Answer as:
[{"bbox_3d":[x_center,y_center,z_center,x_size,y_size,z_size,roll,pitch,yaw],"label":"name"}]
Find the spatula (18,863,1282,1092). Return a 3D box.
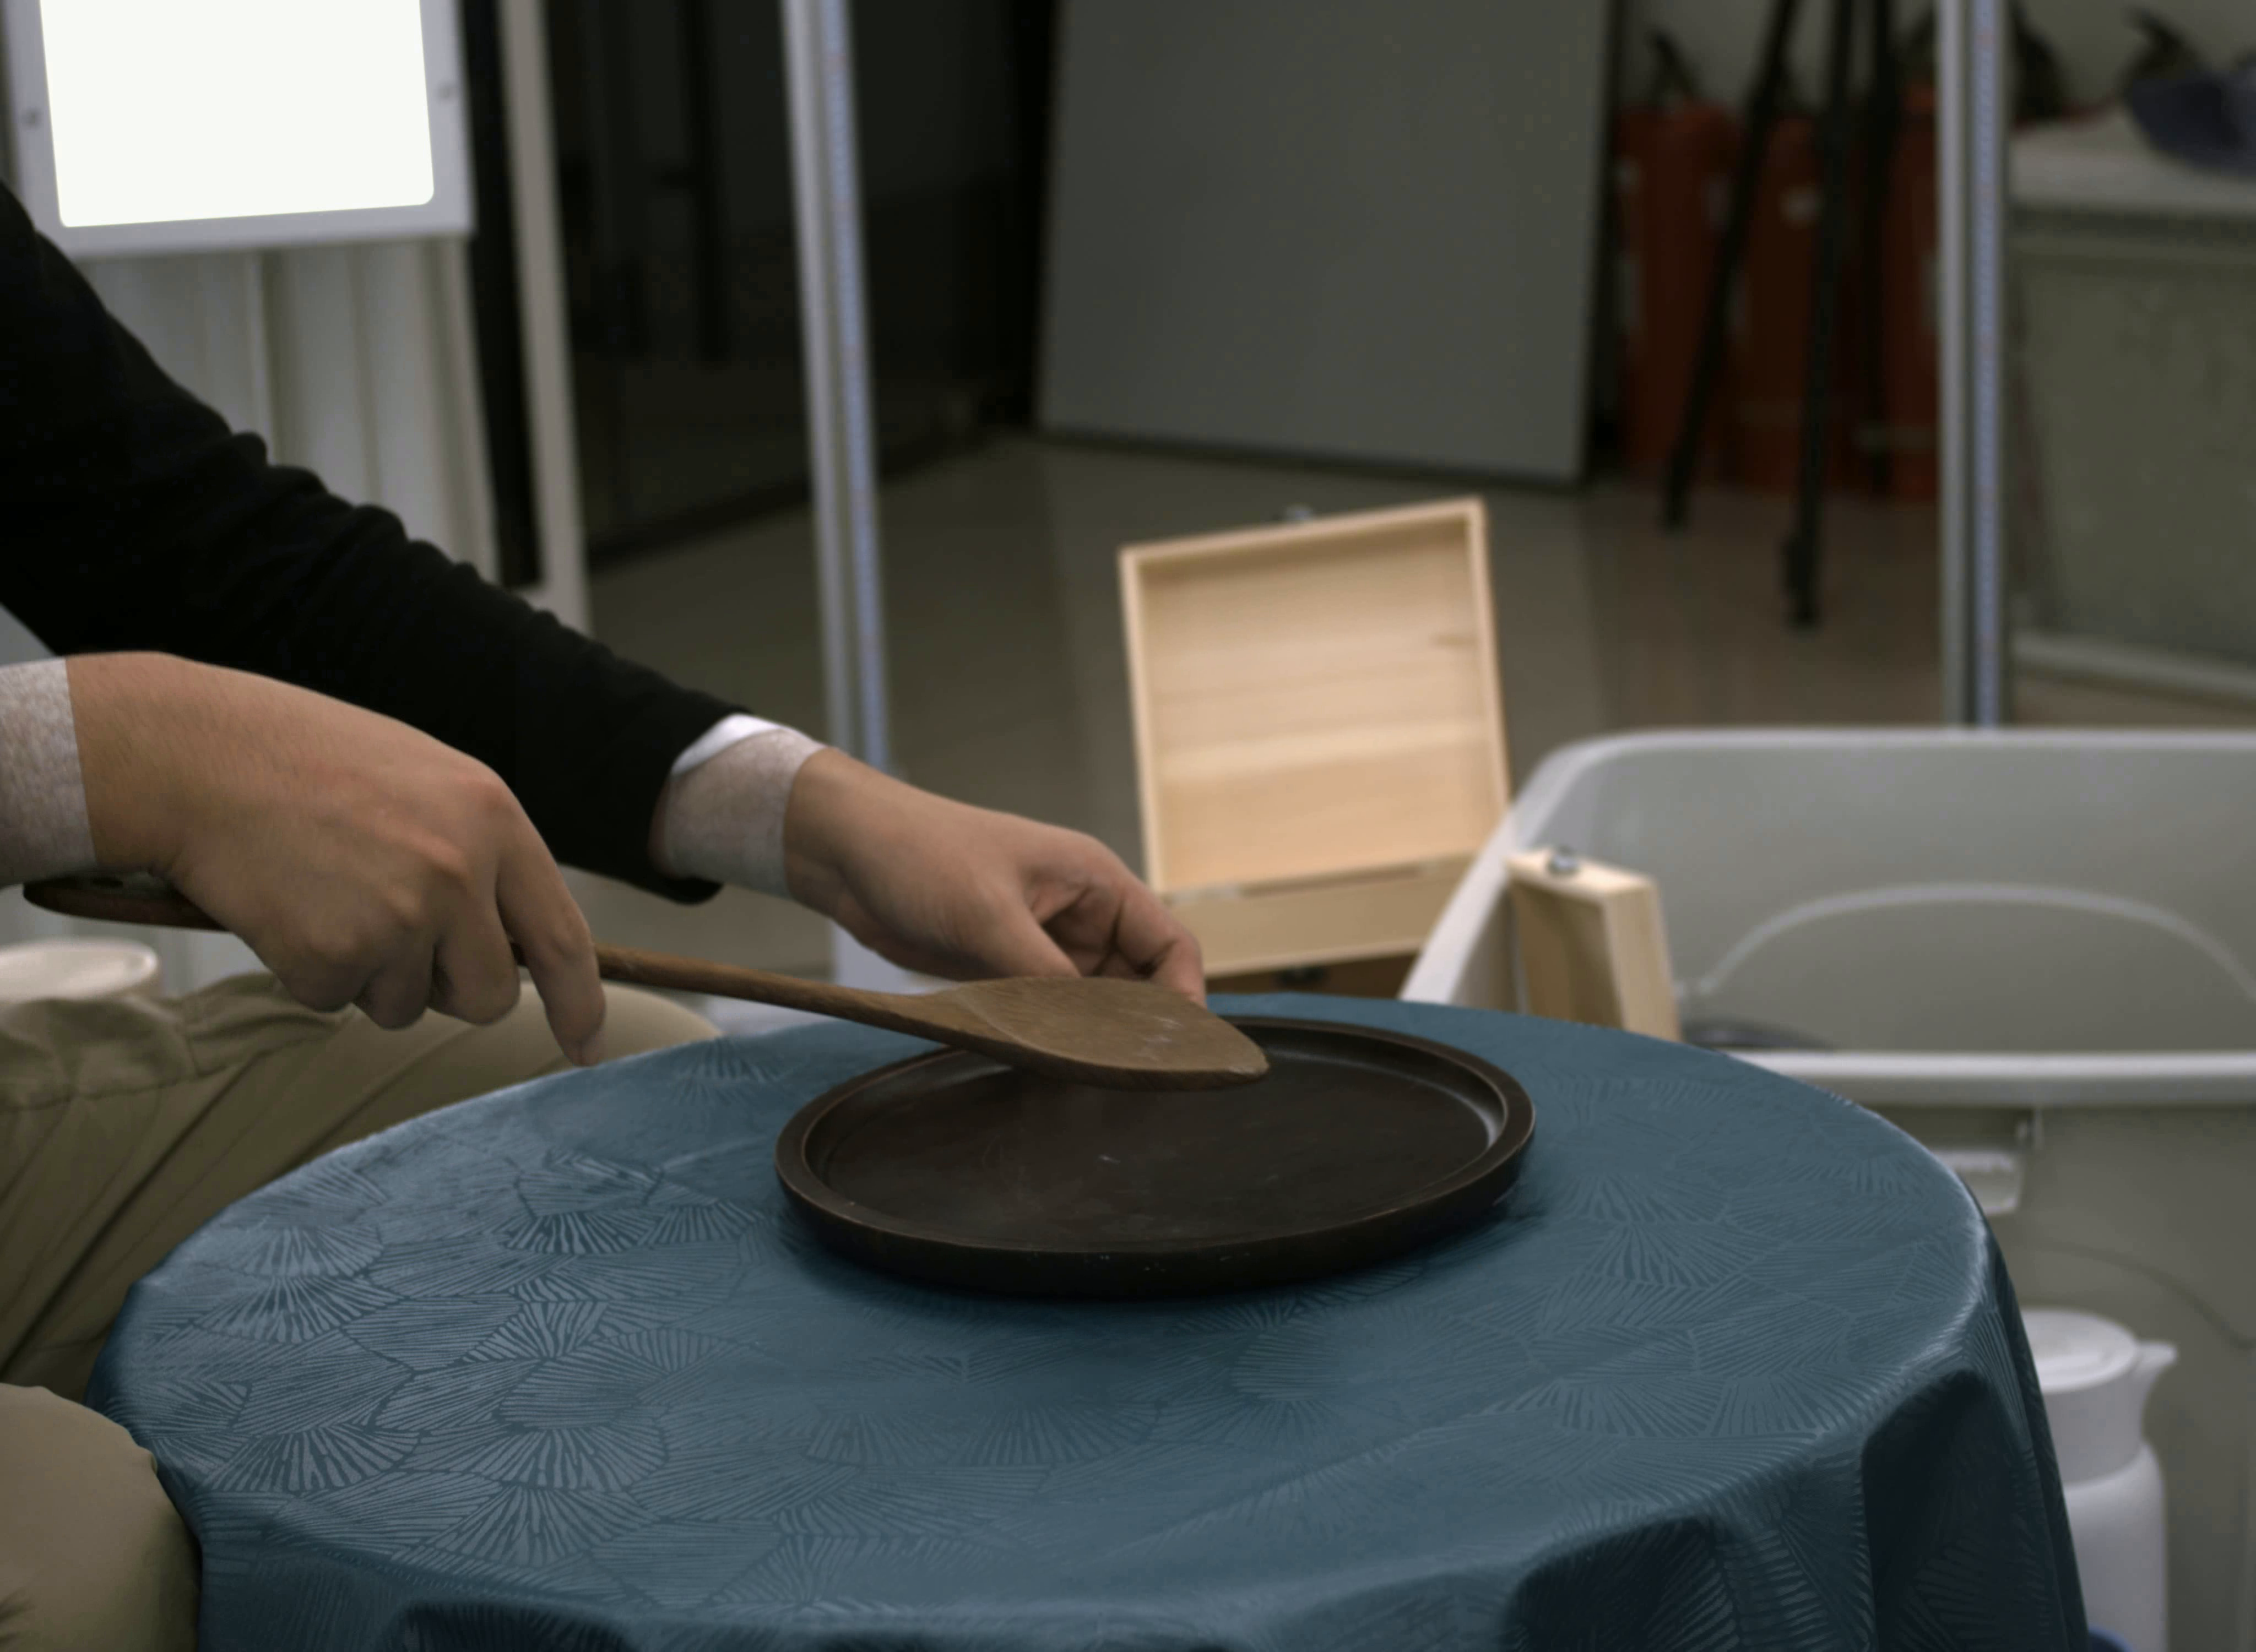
[{"bbox_3d":[-0.133,0.042,1.576,0.377,0.016,0.097,9,13,-23],"label":"spatula"}]

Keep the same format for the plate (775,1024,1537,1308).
[{"bbox_3d":[0.010,0.108,1.767,0.251,0.029,0.255,-5,15,0],"label":"plate"}]
